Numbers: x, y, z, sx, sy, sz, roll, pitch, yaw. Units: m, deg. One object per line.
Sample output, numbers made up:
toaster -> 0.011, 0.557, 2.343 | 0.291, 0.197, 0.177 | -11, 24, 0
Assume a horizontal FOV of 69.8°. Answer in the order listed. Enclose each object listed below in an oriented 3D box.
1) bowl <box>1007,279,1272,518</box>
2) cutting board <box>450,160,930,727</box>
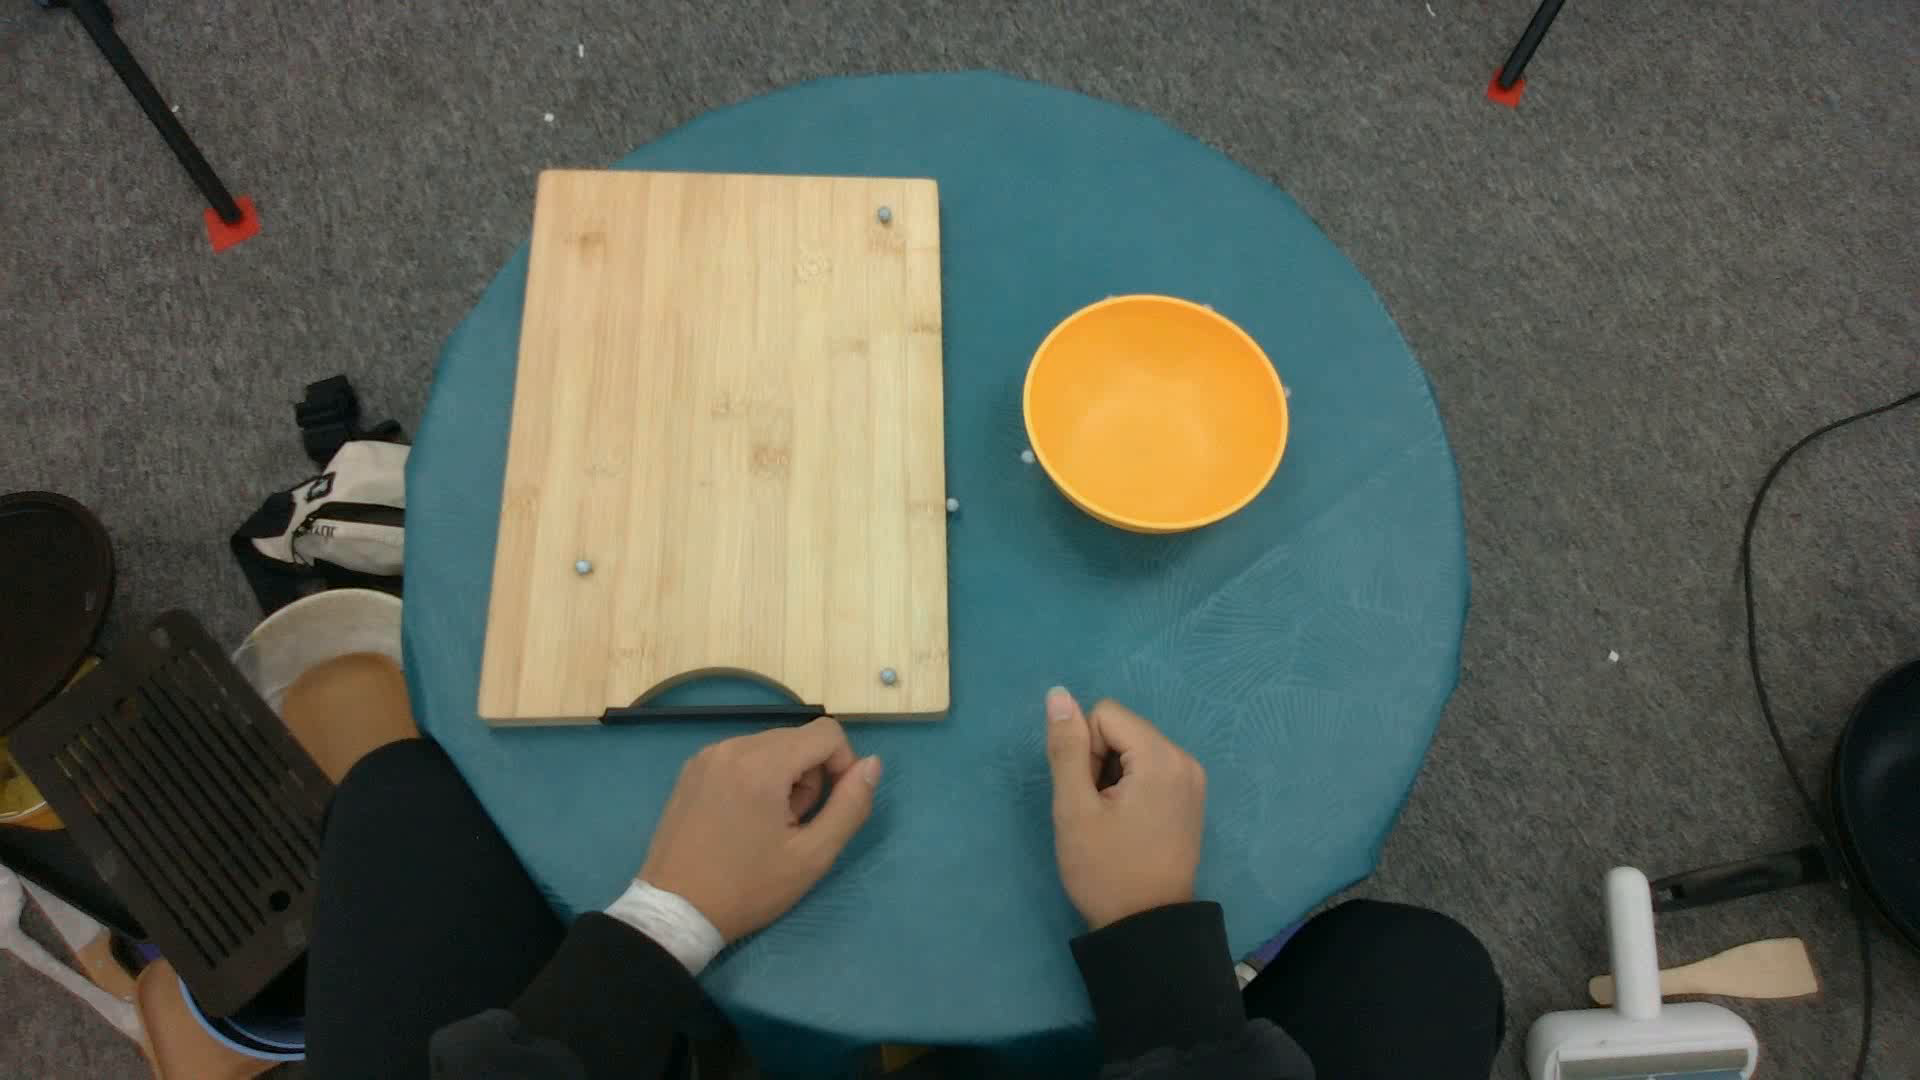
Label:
bowl -> 0.097, -0.070, 0.774 | 0.145, 0.060, 0.146 | 1, 69, -1
cutting board -> -0.141, -0.066, 0.775 | 0.251, 0.023, 0.350 | -1, 67, -5
